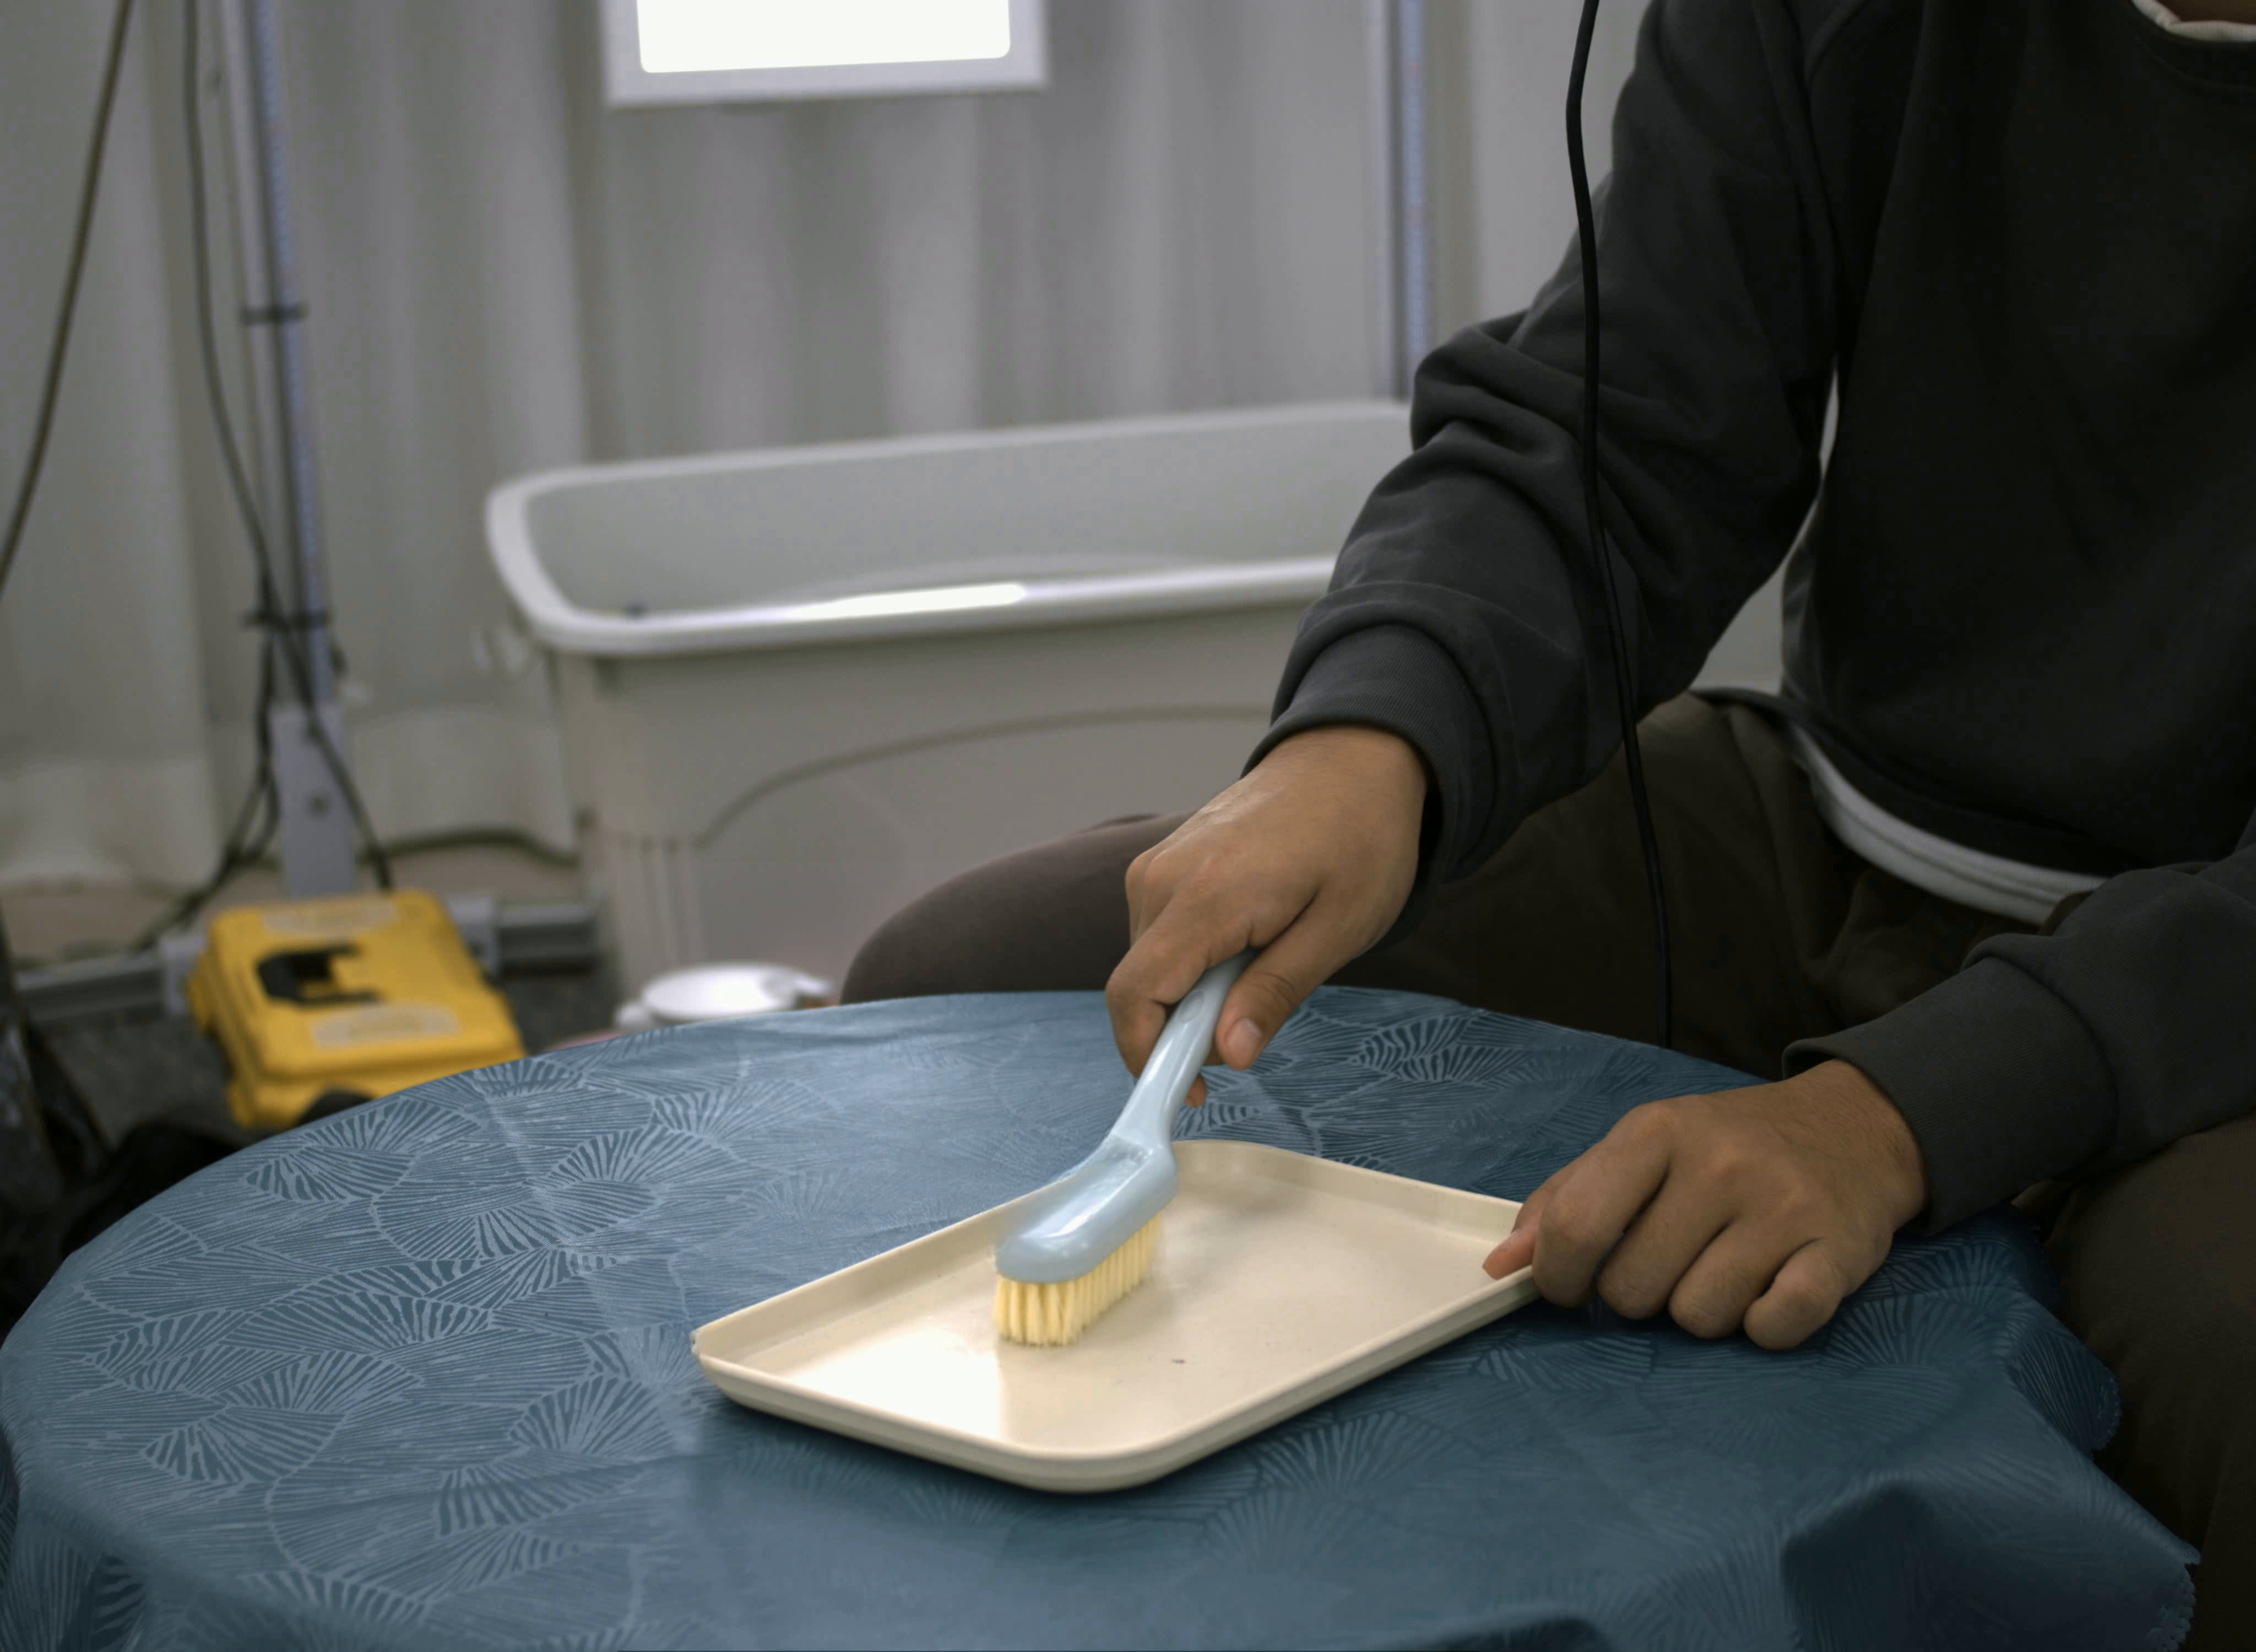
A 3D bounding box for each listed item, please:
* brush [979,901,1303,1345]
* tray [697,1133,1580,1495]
[{"bbox_3d":[0.009,0.087,1.663,0.038,0.049,0.231,4,31,20],"label":"brush"},{"bbox_3d":[0.006,0.140,1.586,0.172,0.017,0.239,11,20,40],"label":"tray"}]
